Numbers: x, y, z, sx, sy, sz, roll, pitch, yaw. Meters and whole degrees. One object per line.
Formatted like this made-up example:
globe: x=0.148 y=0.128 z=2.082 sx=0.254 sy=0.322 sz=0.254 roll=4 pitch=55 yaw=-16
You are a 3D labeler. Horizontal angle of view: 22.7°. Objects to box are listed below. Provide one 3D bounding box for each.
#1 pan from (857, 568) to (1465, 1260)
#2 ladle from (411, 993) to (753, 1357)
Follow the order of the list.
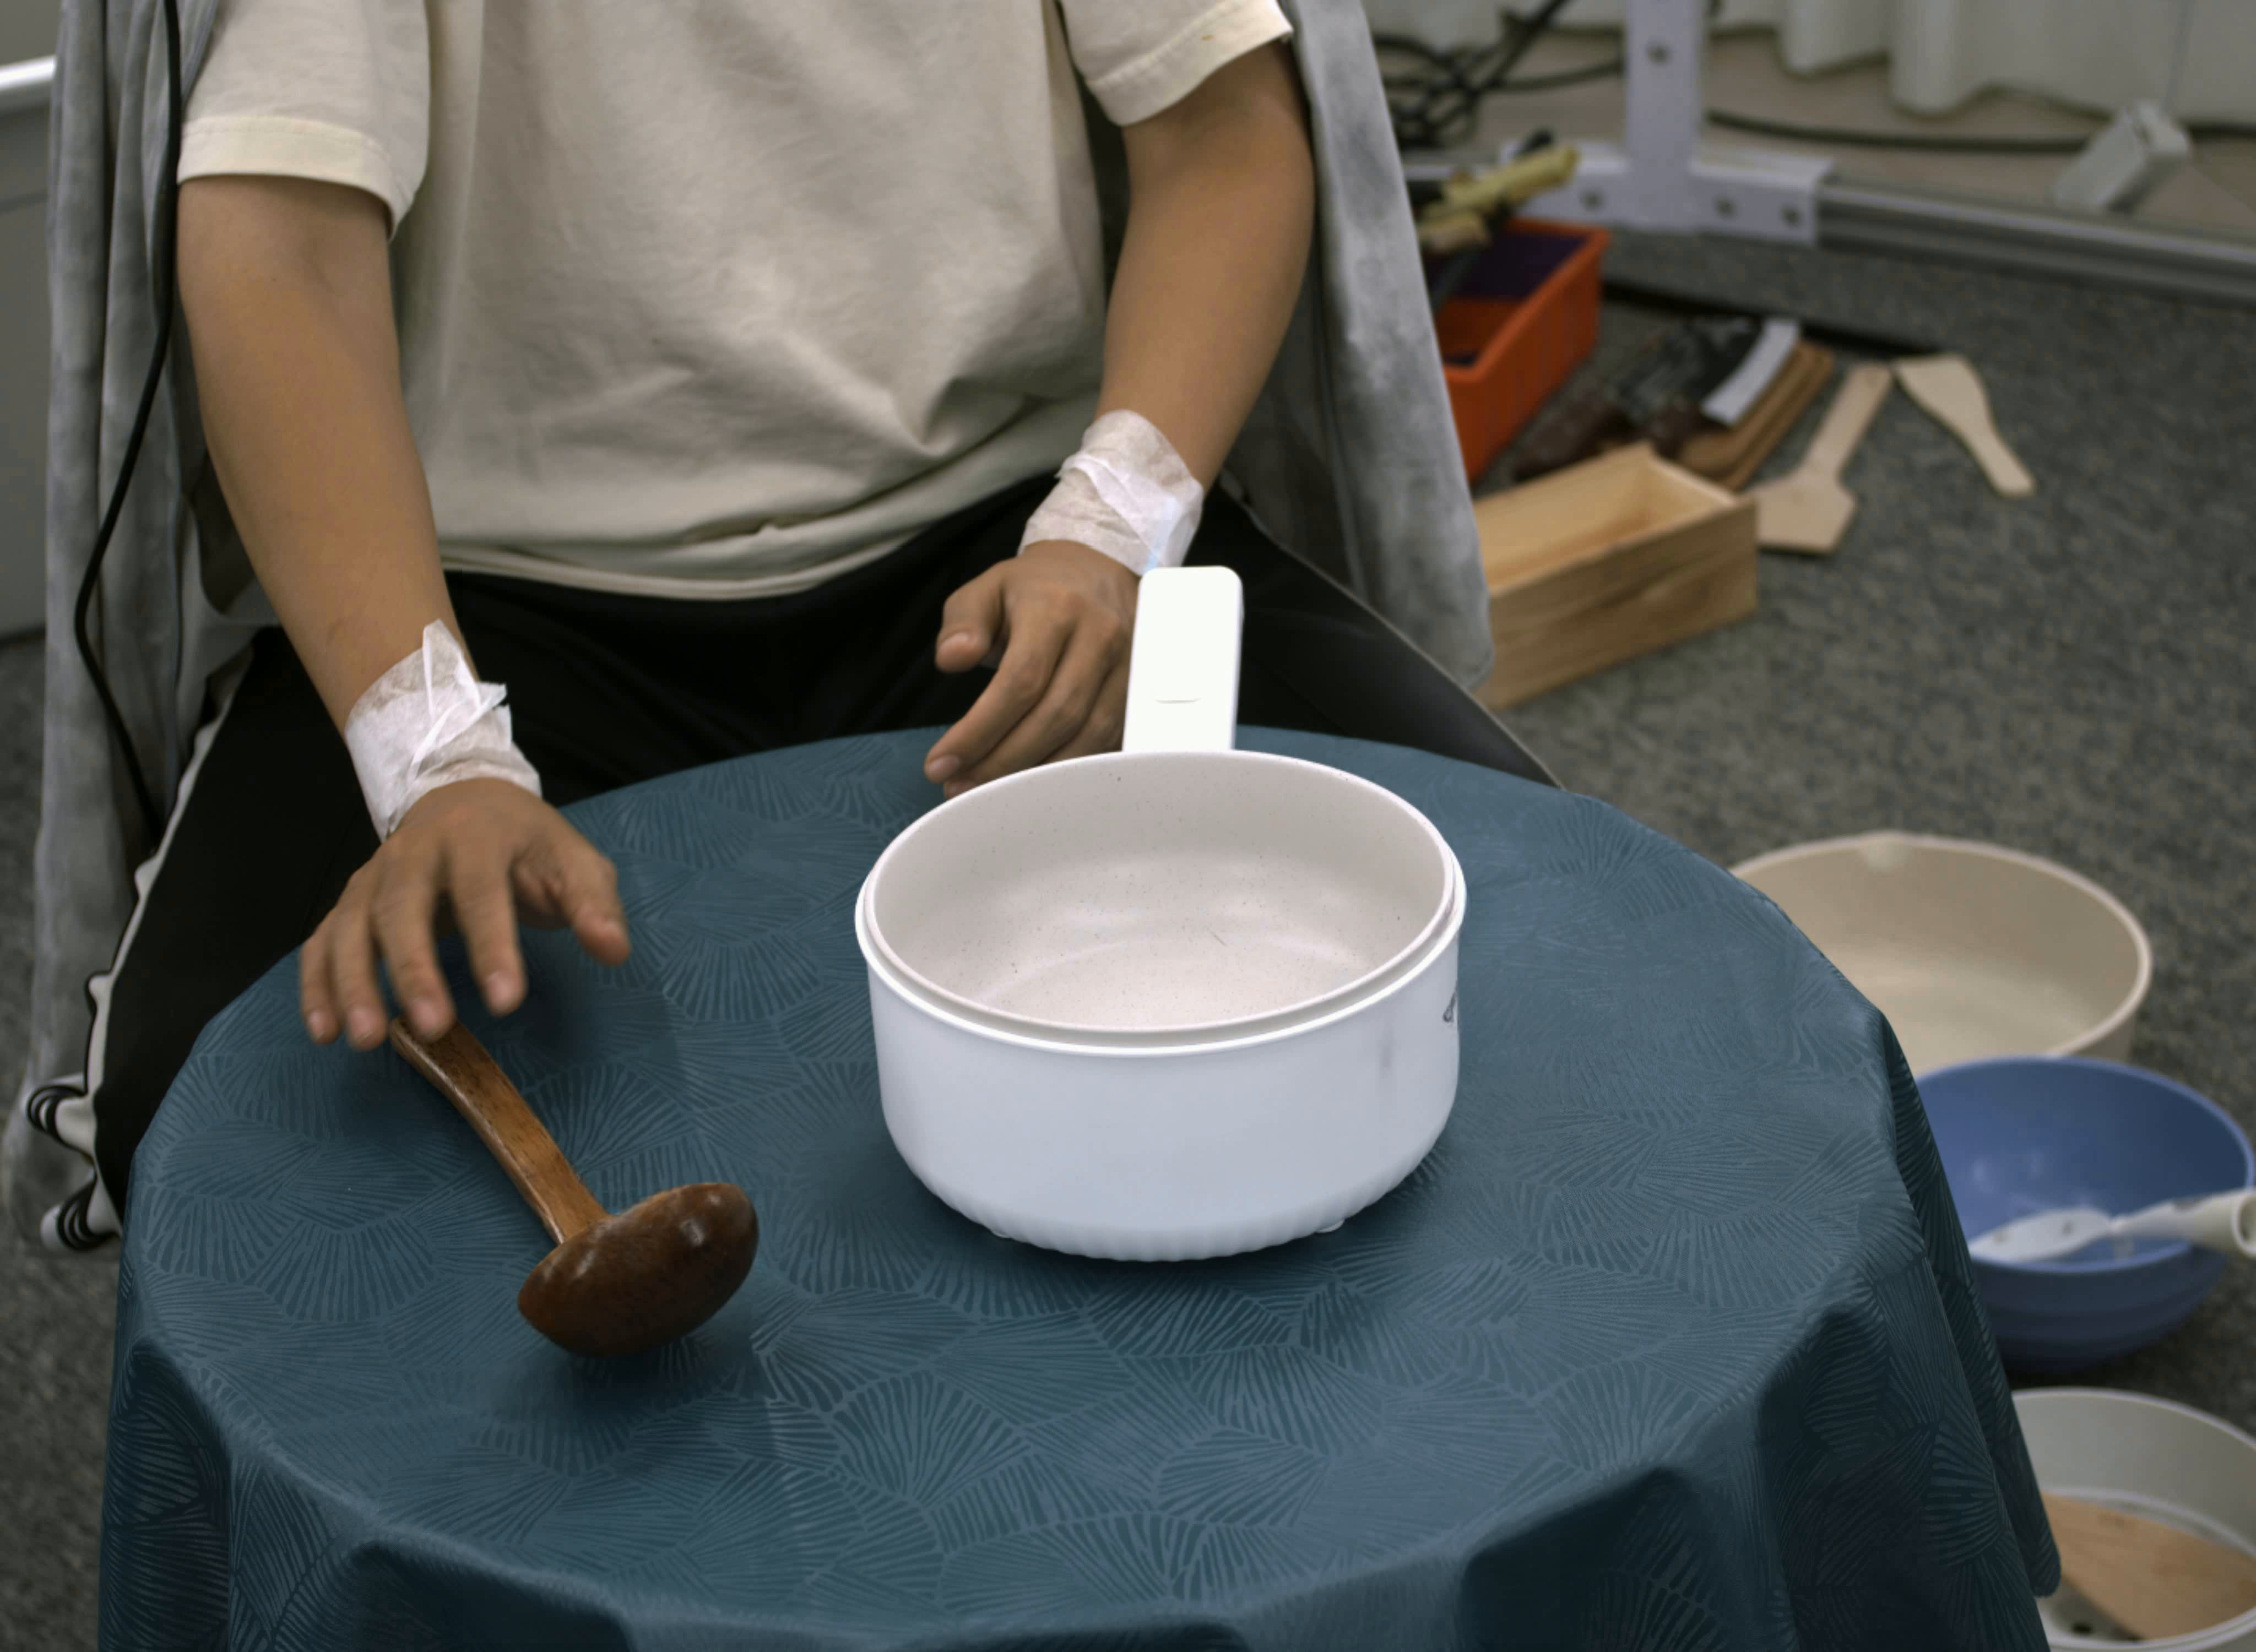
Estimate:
pan: x=0.018 y=0.027 z=1.935 sx=0.200 sy=0.101 sz=0.360 roll=-1 pitch=26 yaw=4
ladle: x=-0.197 y=0.095 z=1.845 sx=0.082 sy=0.076 sz=0.276 roll=-16 pitch=31 yaw=-18
